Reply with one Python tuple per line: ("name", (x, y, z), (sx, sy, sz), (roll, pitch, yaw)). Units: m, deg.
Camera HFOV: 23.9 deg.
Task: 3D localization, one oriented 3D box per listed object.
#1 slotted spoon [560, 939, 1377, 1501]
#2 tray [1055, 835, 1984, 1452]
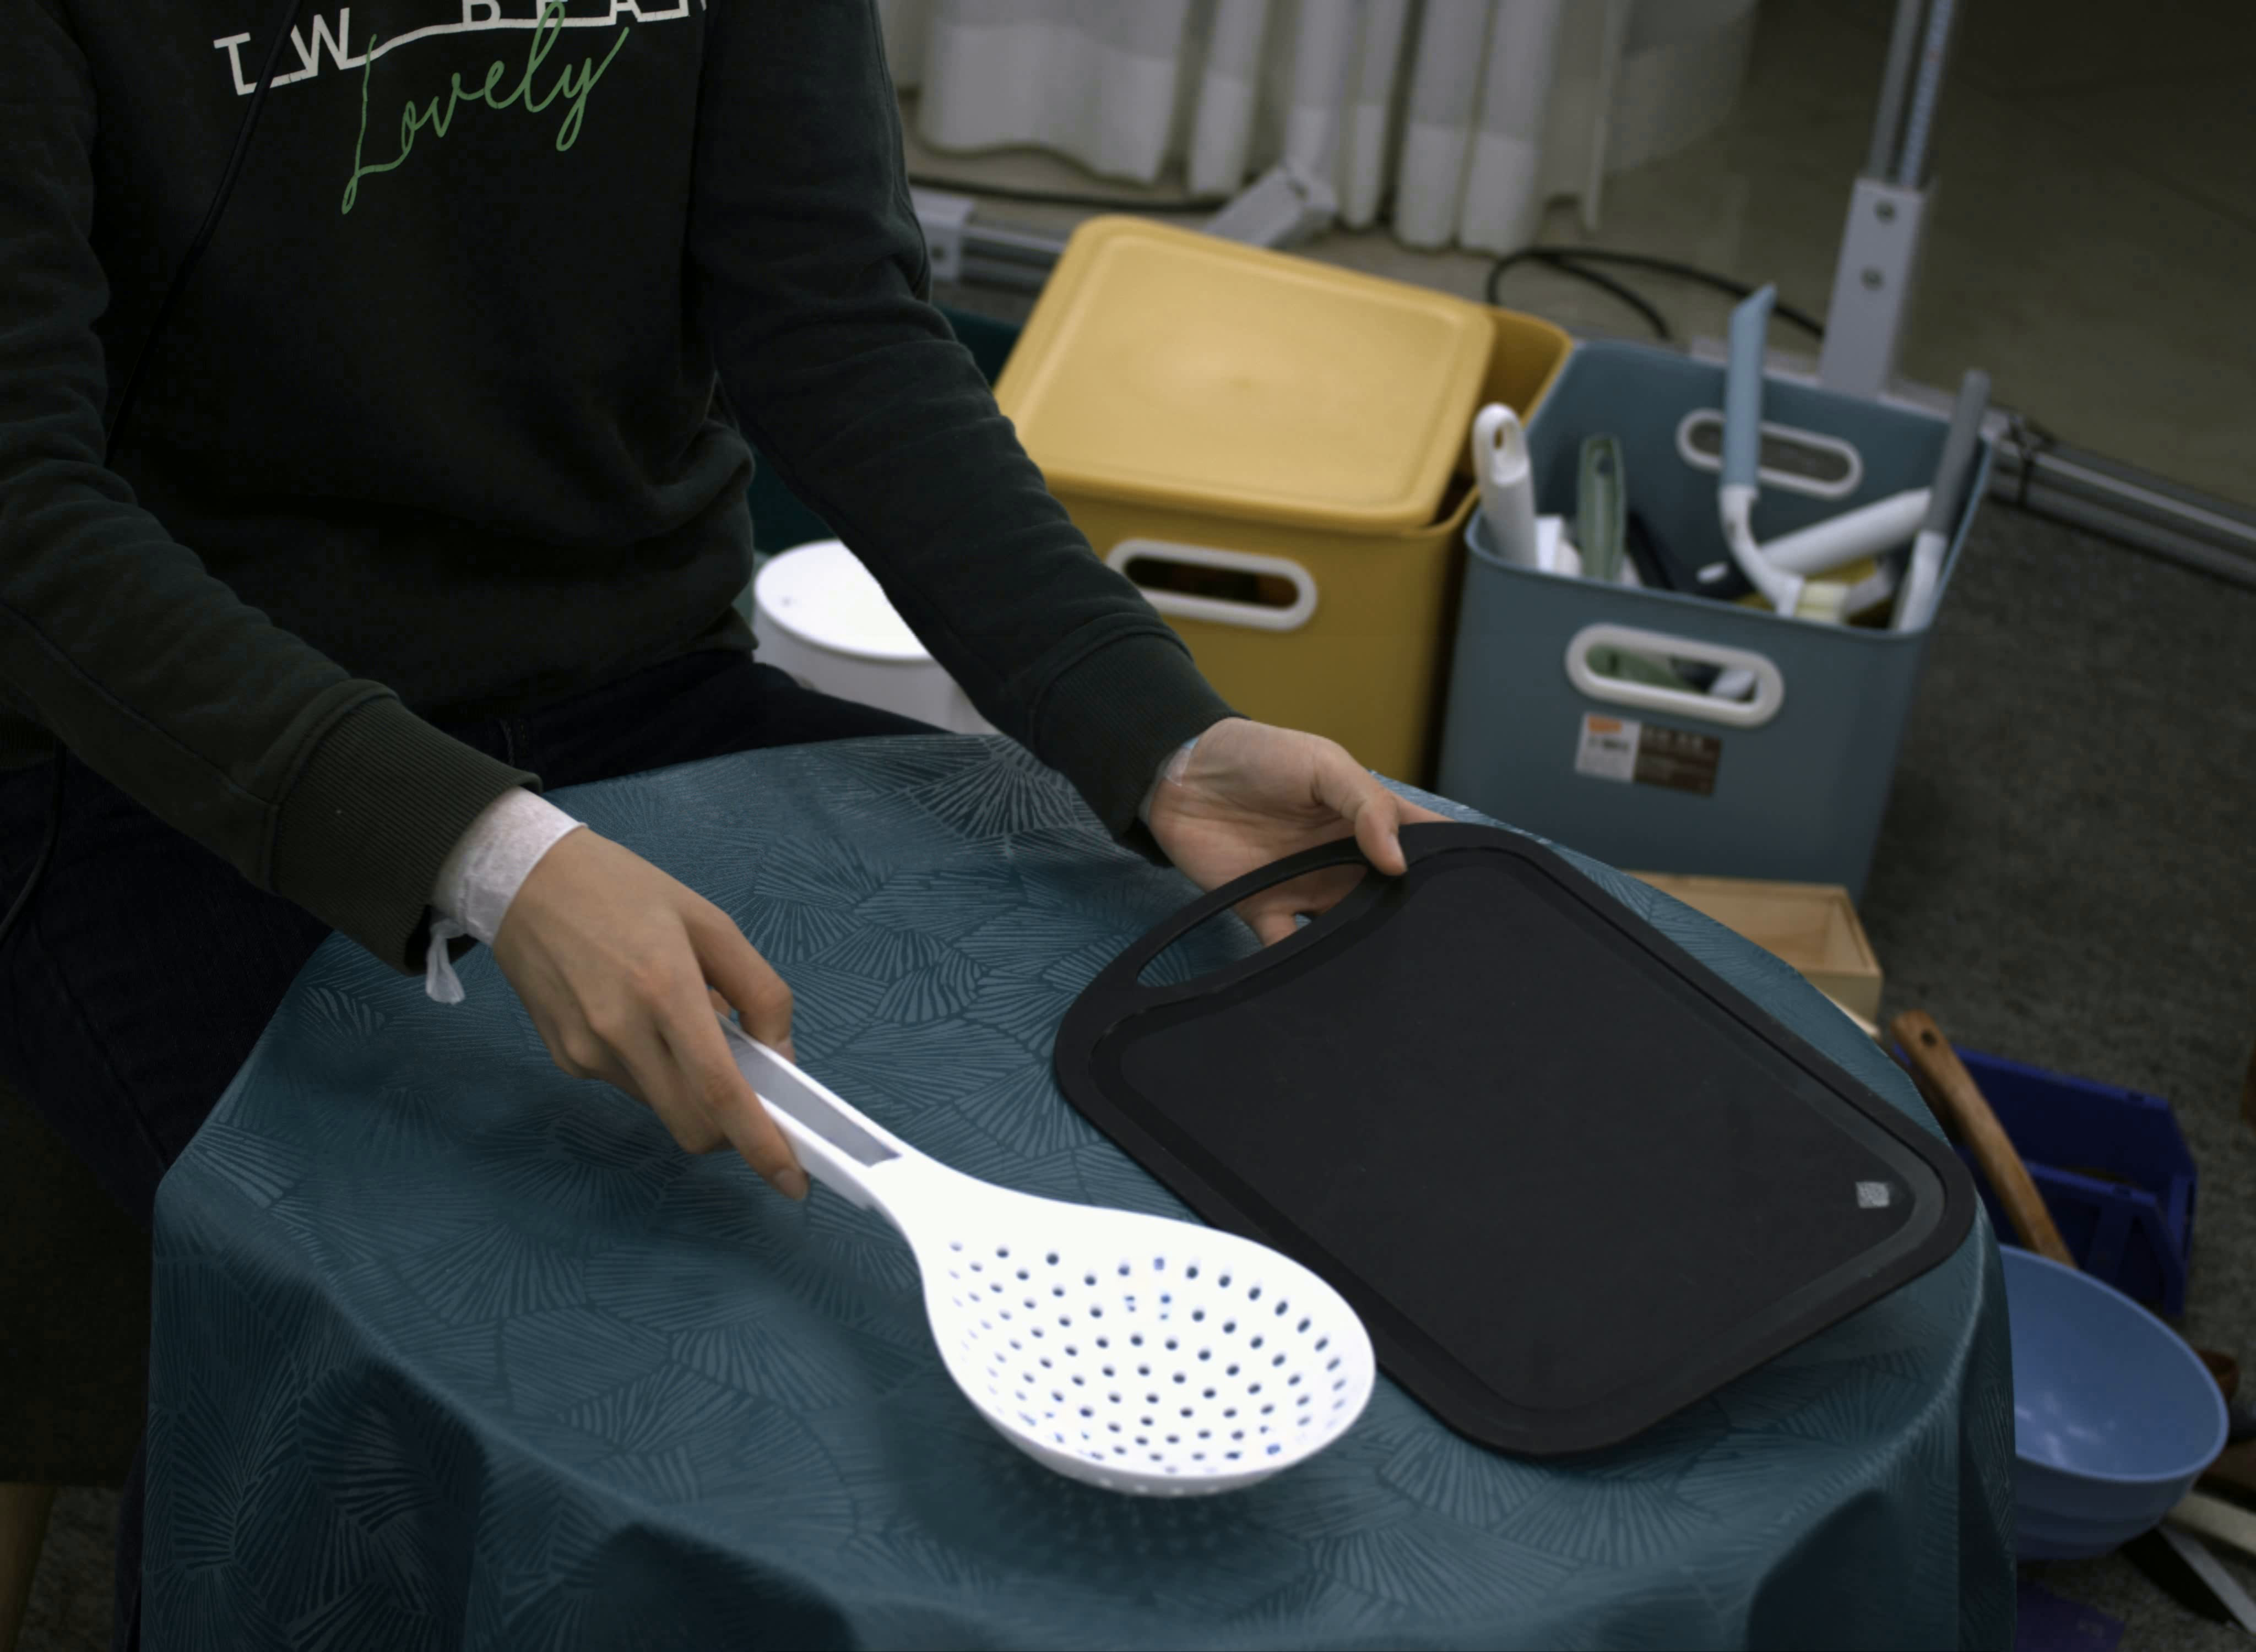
("slotted spoon", (-0.066, 0.121, 1.705), (0.135, 0.045, 0.352), (-19, 43, -40))
("tray", (0.122, 0.097, 1.814), (0.210, 0.010, 0.328), (-26, 39, -24))
